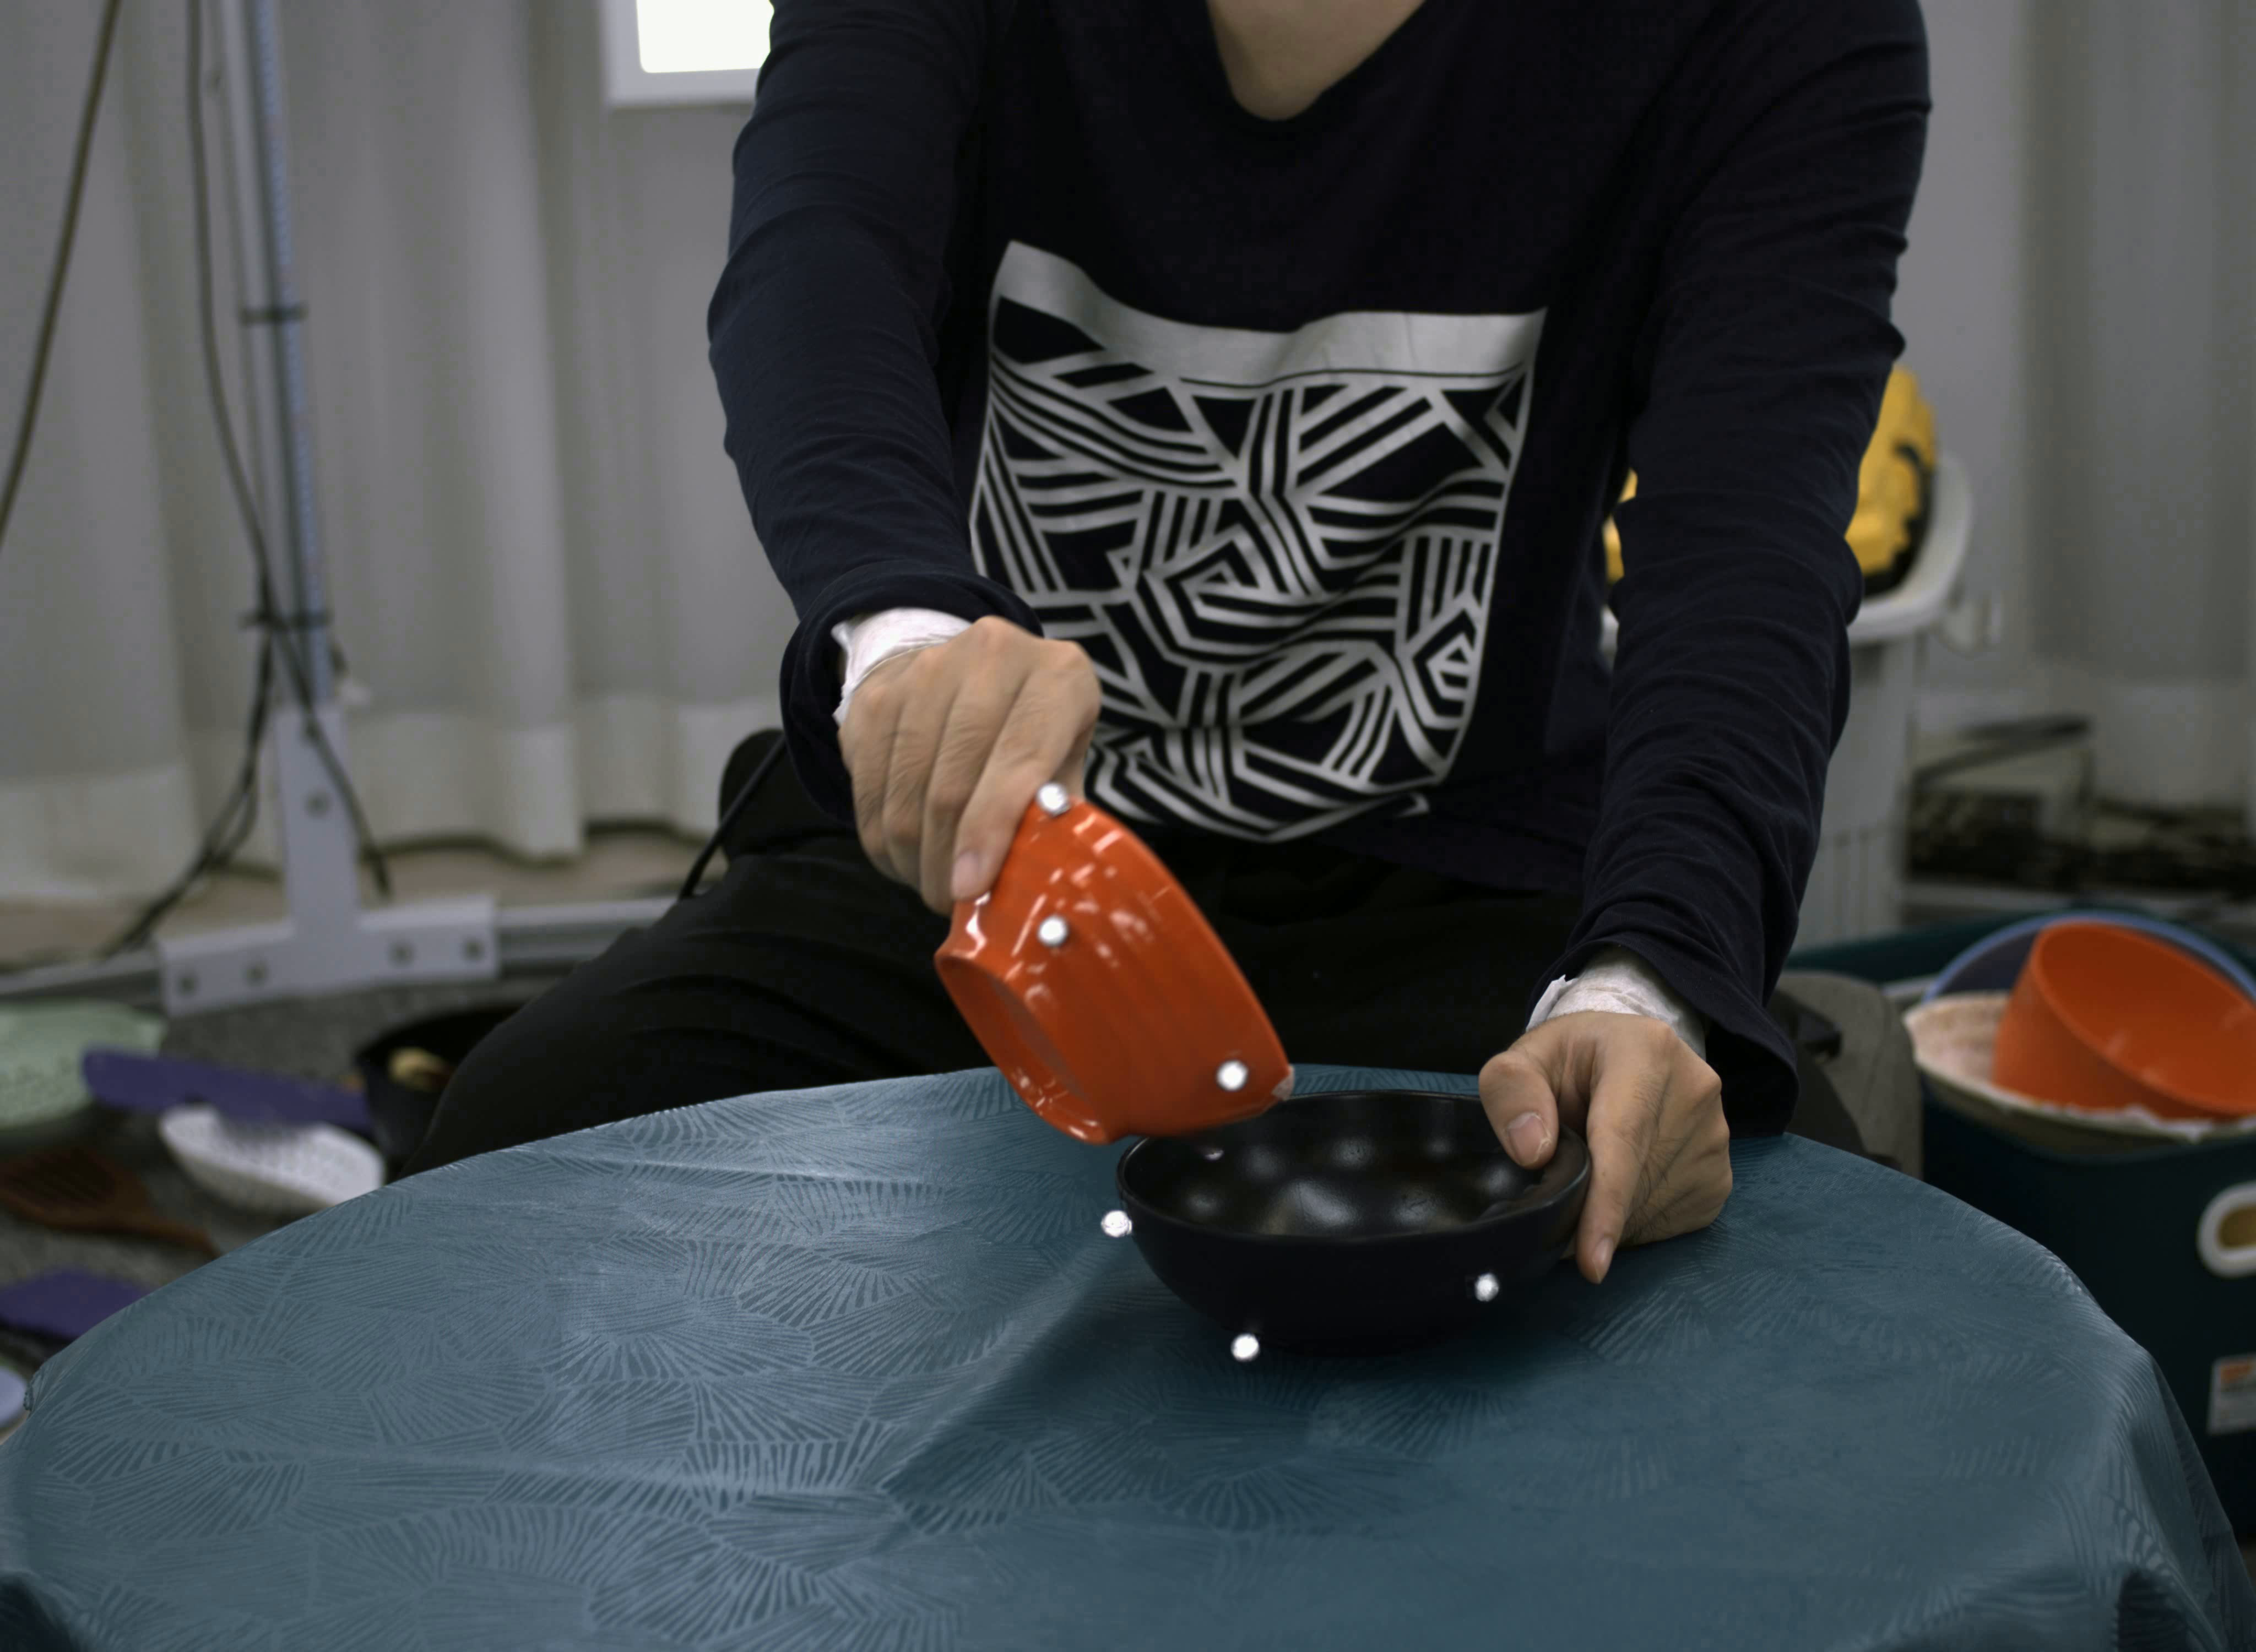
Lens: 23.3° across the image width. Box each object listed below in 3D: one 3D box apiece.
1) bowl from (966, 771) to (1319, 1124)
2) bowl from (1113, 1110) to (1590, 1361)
[{"bbox_3d":[-0.004,0.042,1.531,0.051,0.118,0.120,-44,23,-5],"label":"bowl"},{"bbox_3d":[0.065,0.122,1.589,0.139,0.049,0.140,-2,10,0],"label":"bowl"}]
